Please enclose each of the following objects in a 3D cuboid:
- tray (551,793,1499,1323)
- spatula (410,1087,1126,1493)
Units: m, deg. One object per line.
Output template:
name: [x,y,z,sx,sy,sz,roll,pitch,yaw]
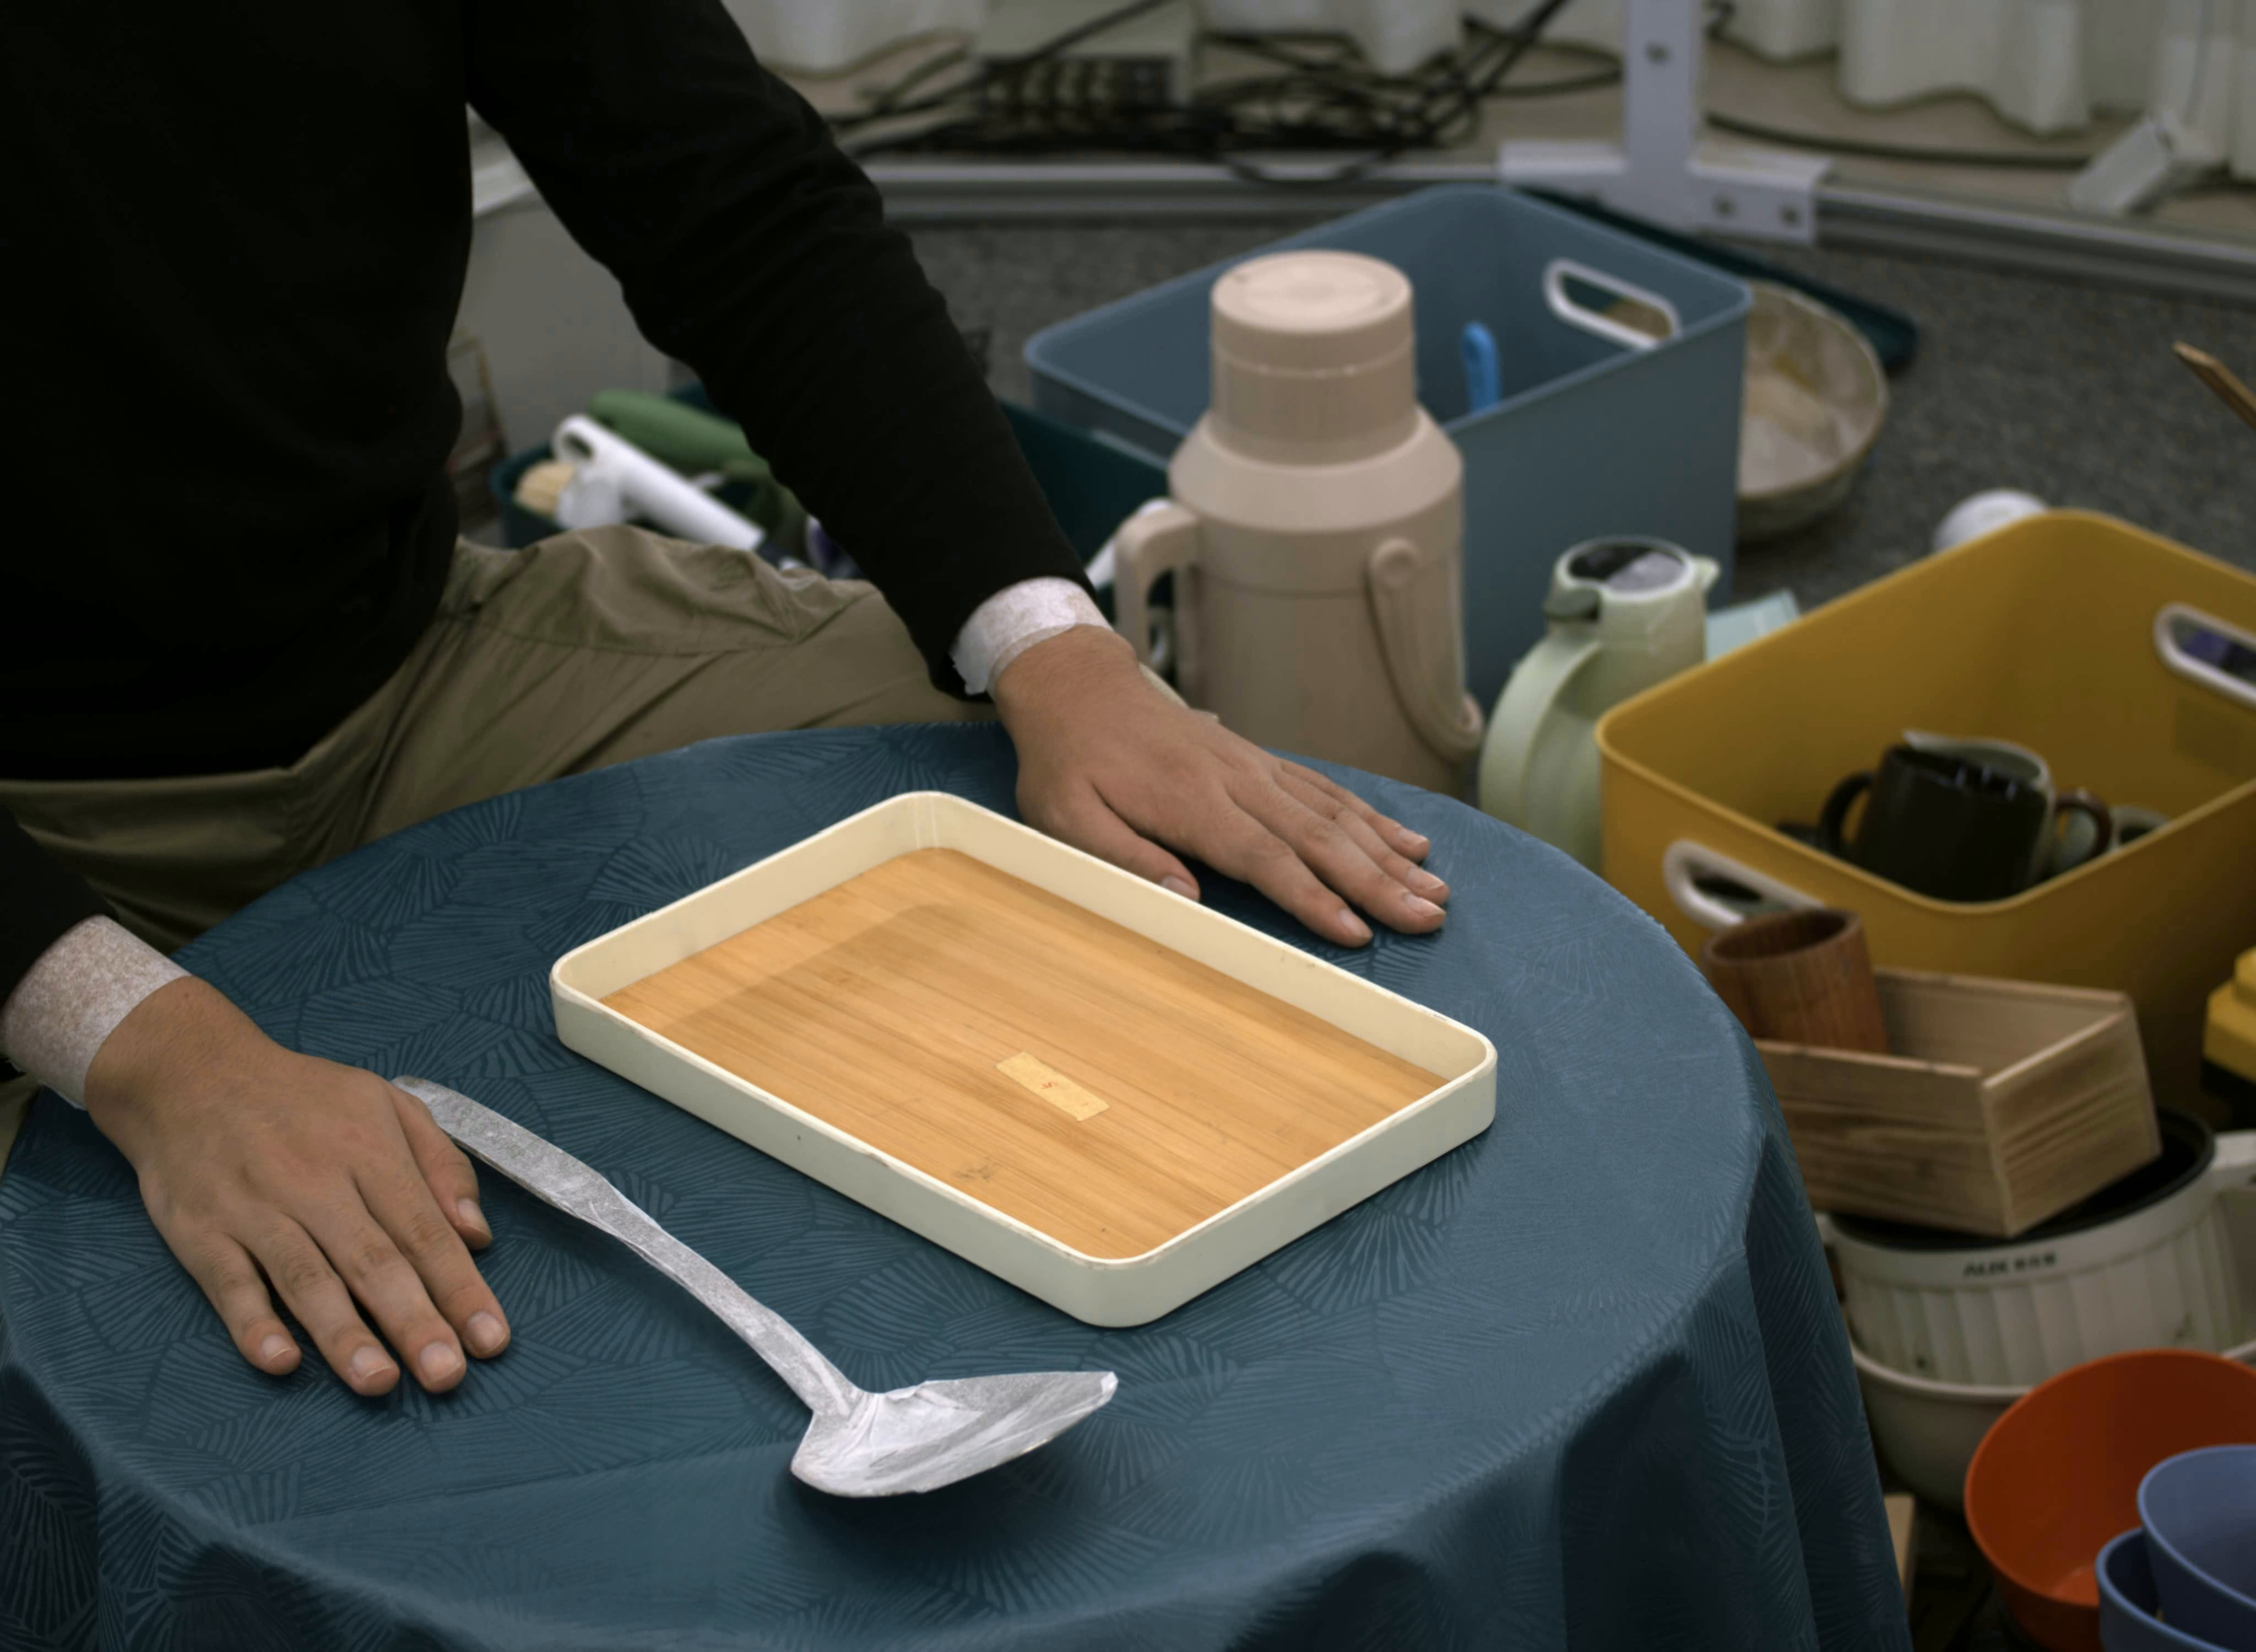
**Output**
tray: [-0.038,0.074,1.927,0.194,0.027,0.300,-26,35,-37]
spatula: [-0.139,0.139,1.800,0.099,0.044,0.365,-22,33,-32]
